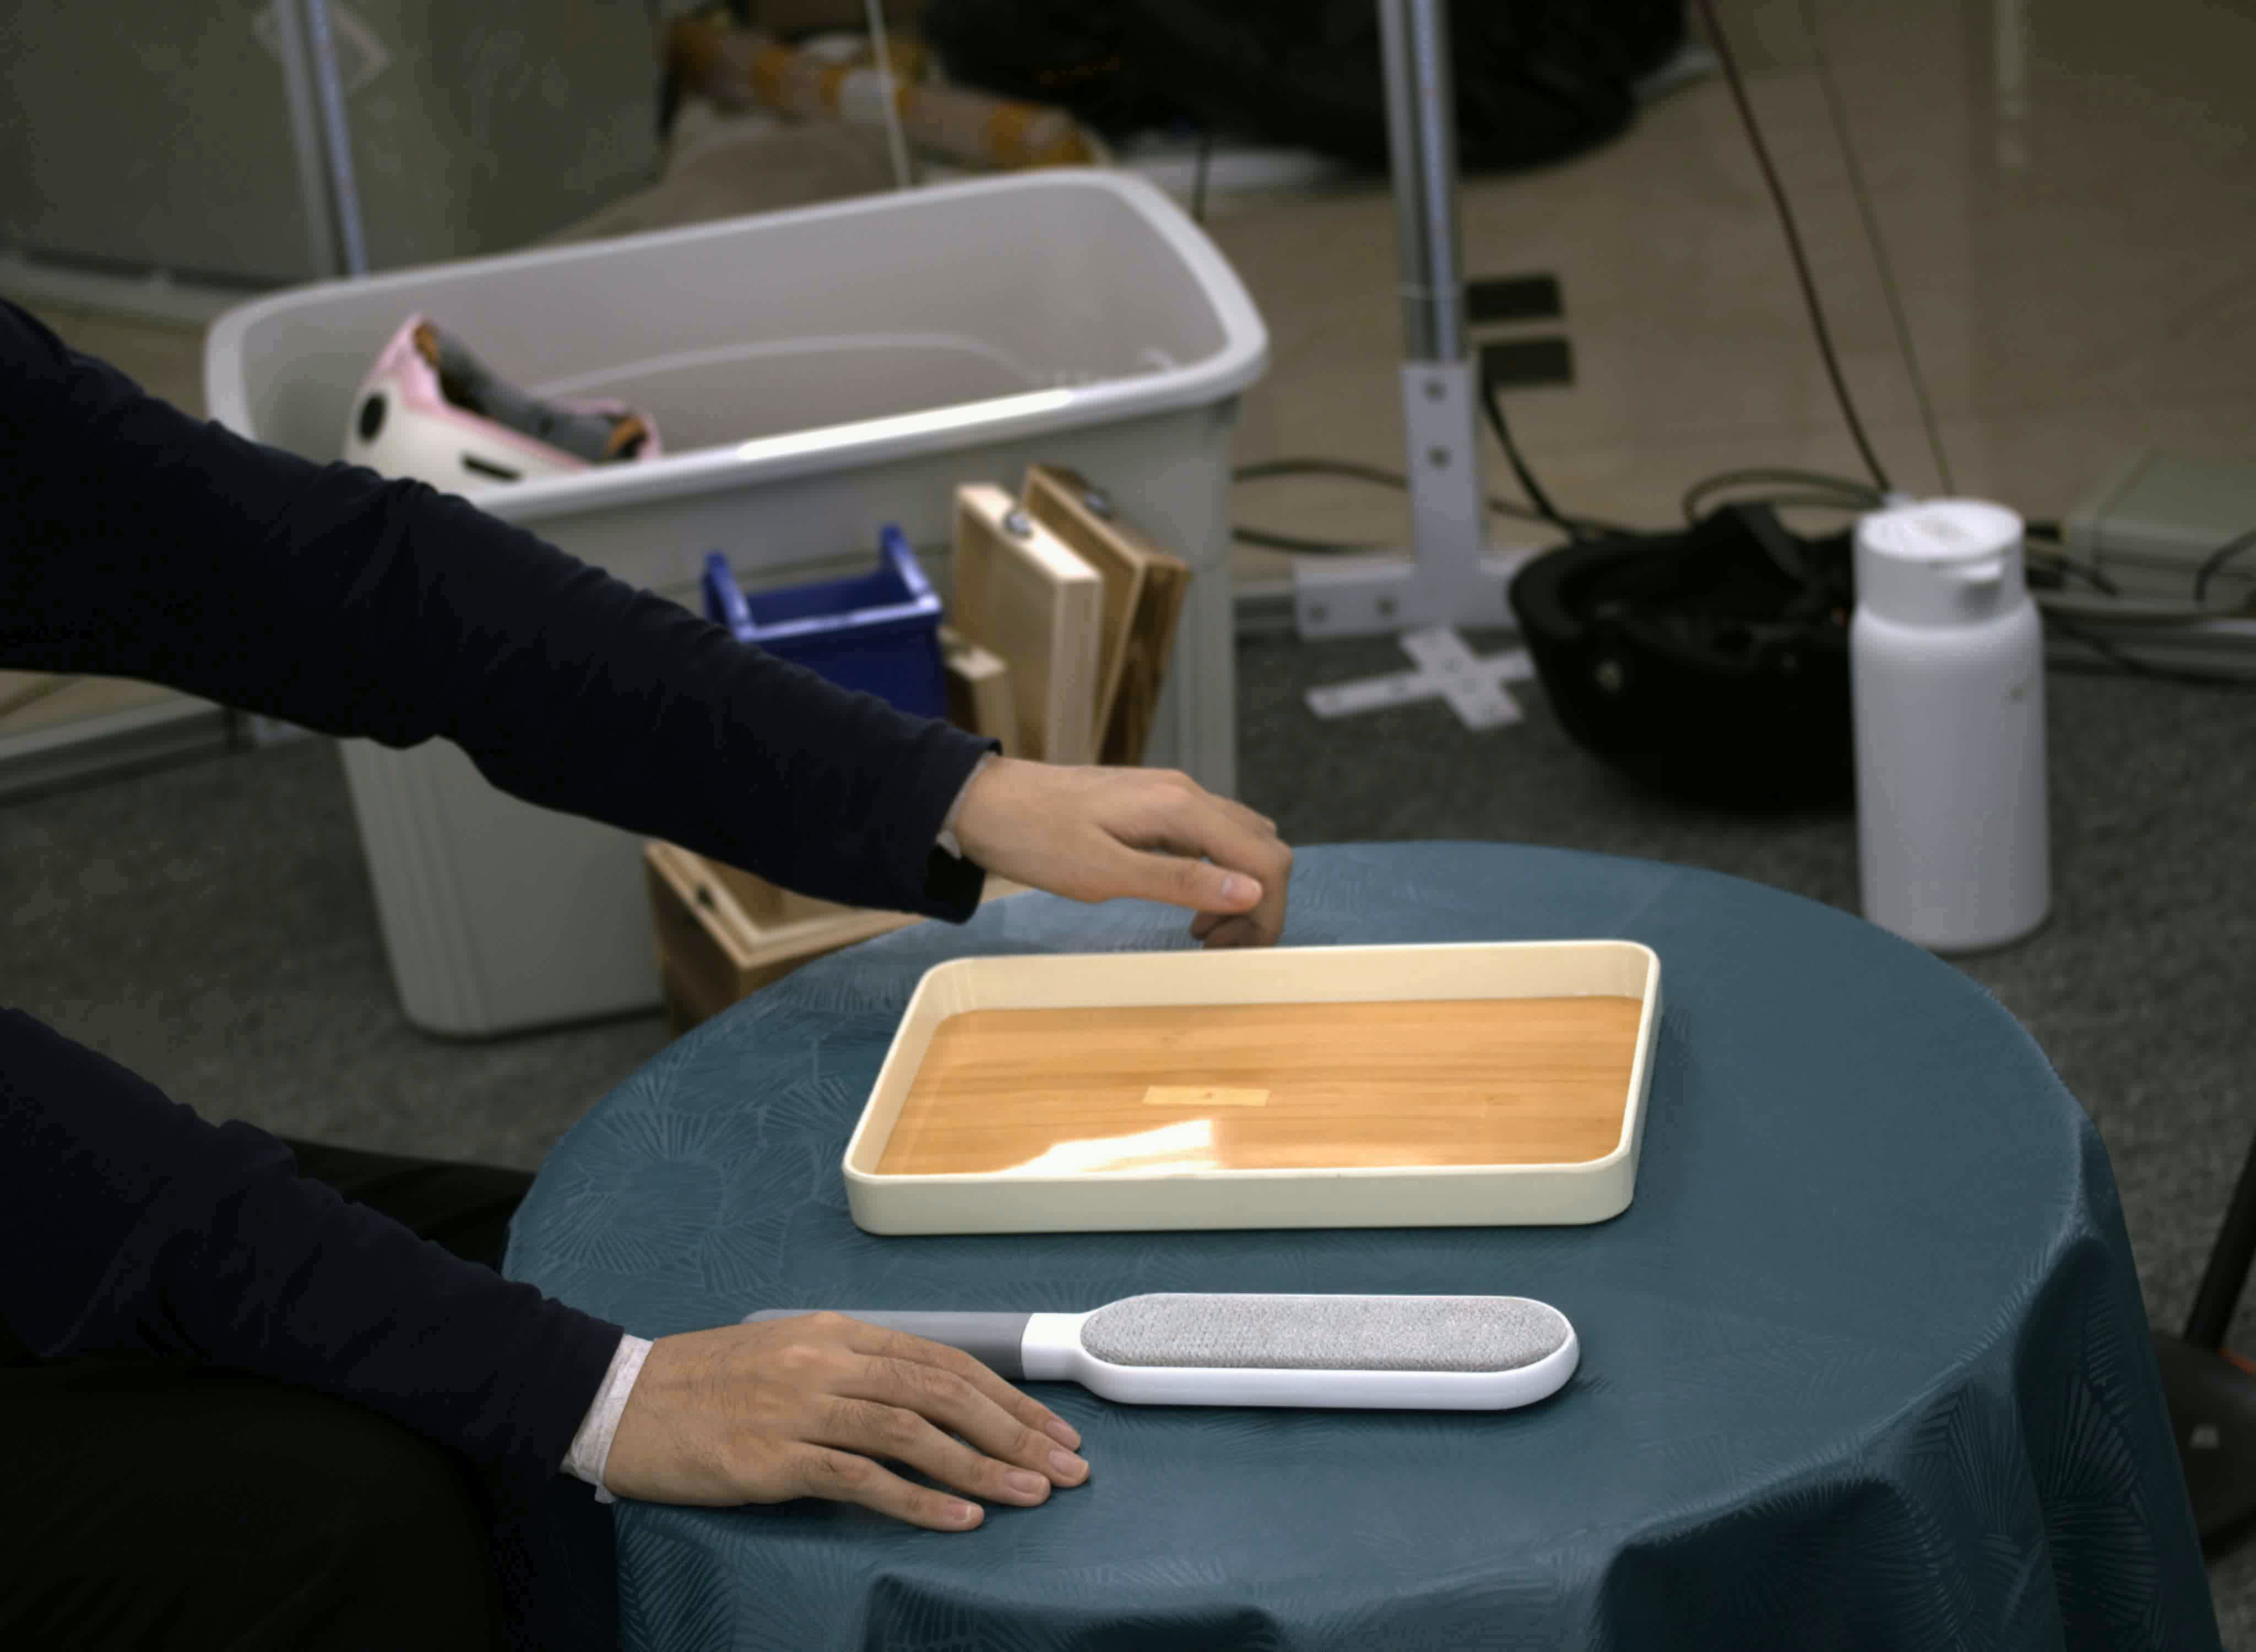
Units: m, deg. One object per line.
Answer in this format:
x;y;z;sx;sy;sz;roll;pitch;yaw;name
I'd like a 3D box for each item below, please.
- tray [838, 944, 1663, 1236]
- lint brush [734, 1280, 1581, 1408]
0.051;0.101;2.189;0.300;0.028;0.189;-2;25;12;tray
0.007;0.183;2.023;0.308;0.021;0.059;0;31;14;lint brush
